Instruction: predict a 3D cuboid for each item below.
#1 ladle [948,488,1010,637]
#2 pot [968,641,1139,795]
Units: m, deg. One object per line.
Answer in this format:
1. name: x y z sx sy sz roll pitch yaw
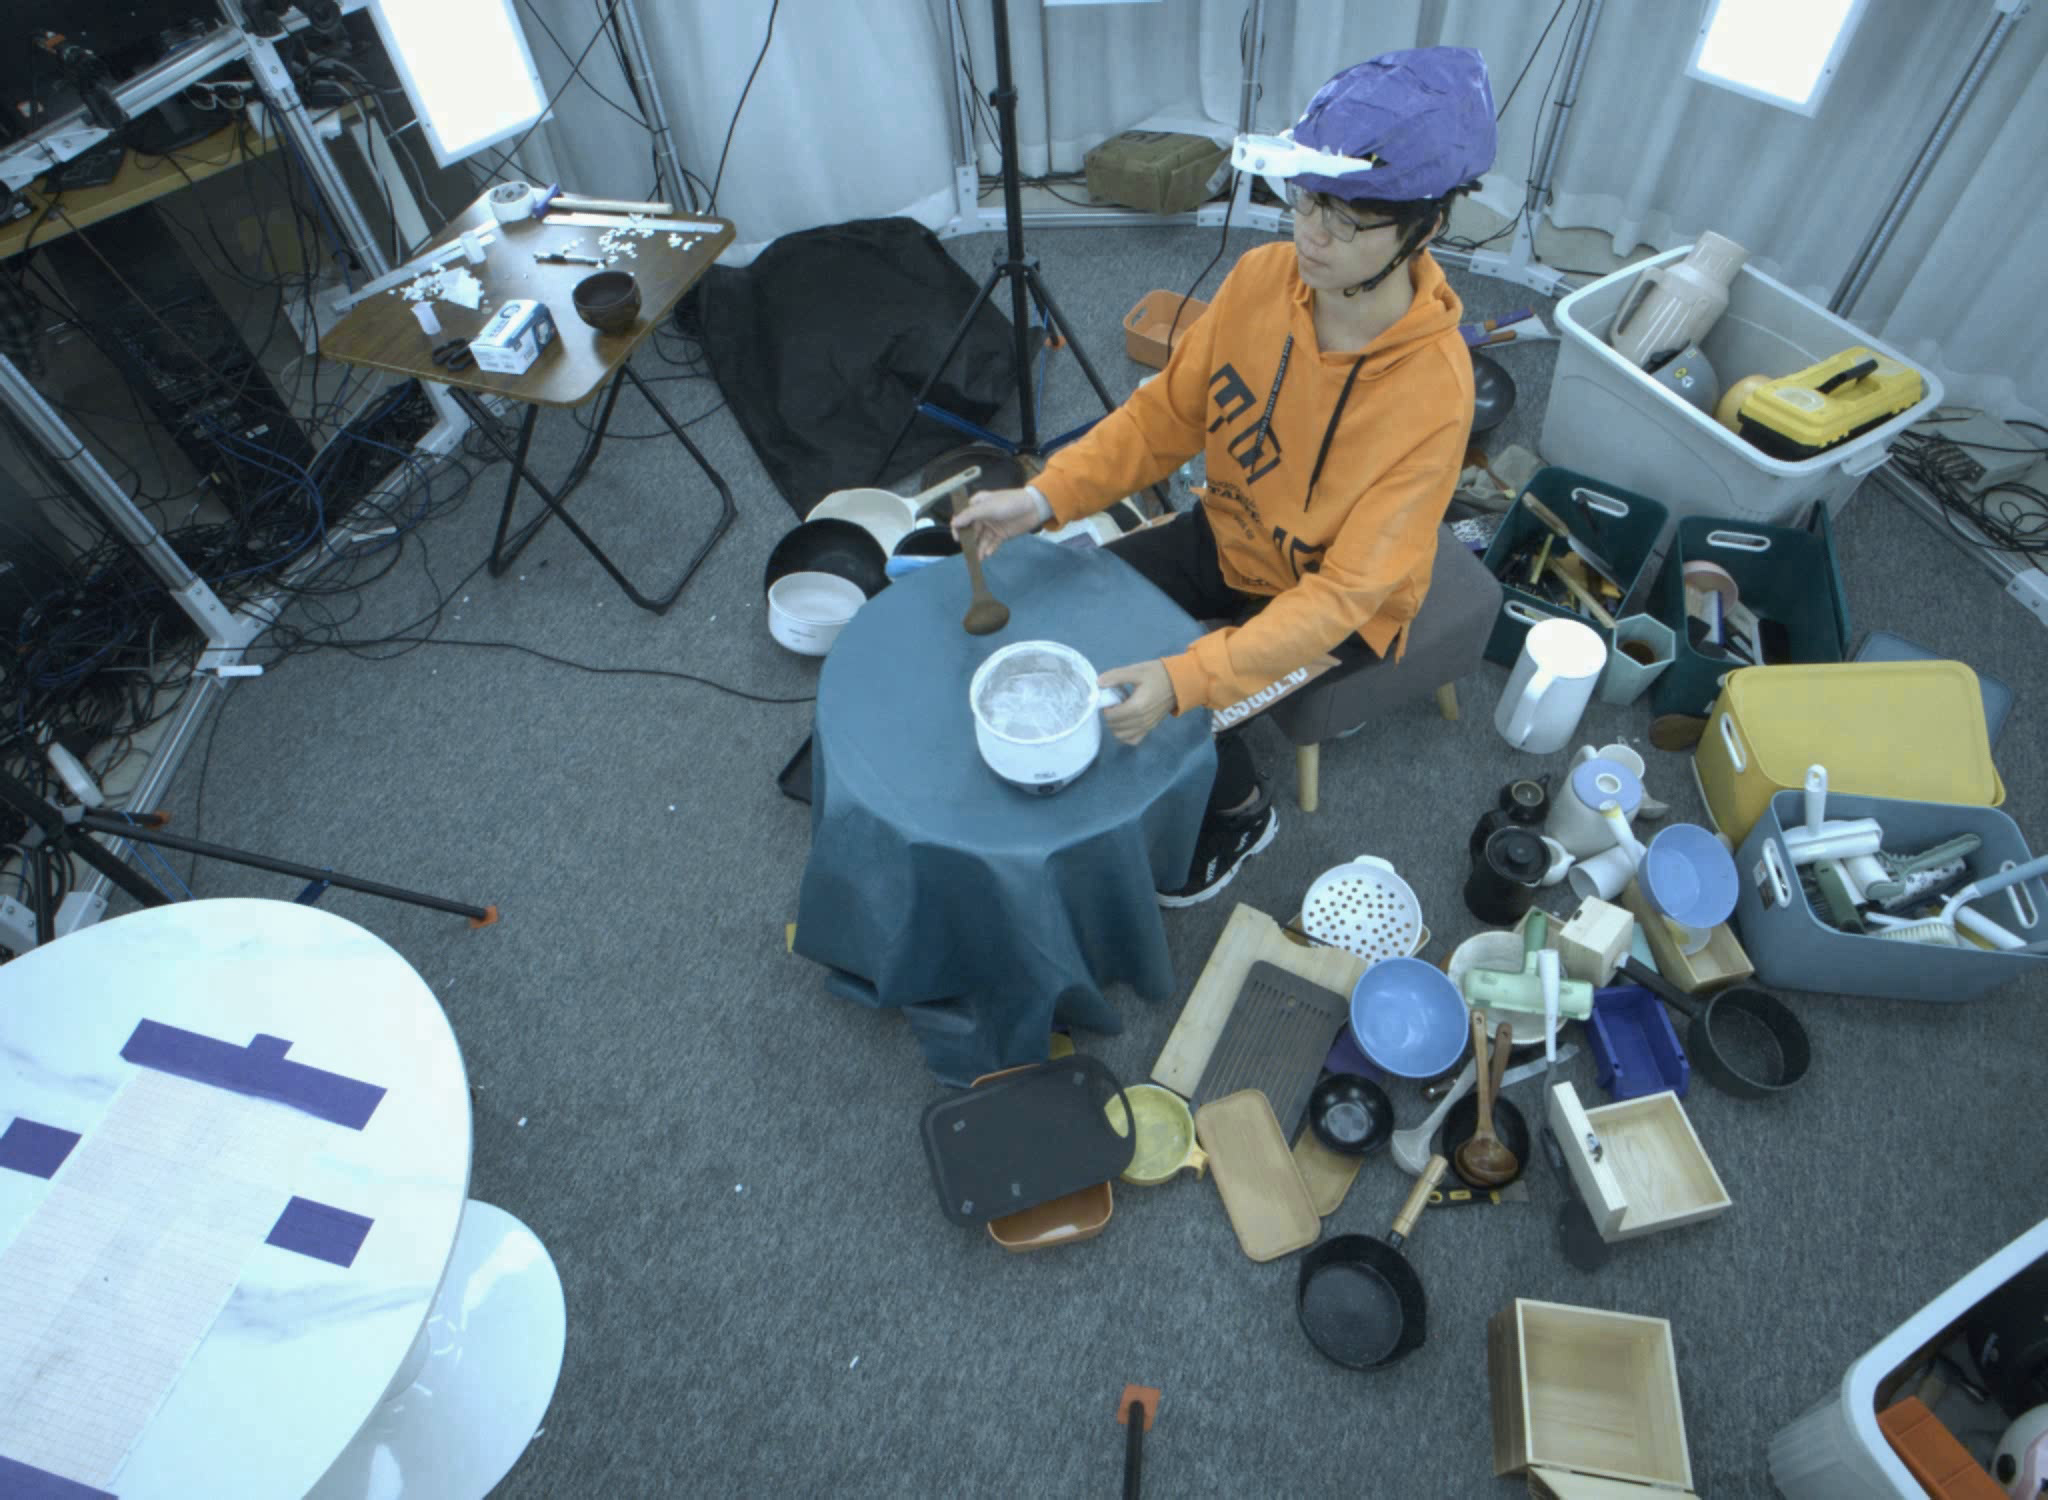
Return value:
1. ladle: -0.082 -0.293 1.848 0.076 0.072 0.272 -13 75 -1
2. pot: 0.044 -0.048 1.723 0.234 0.138 0.176 -8 57 -2
